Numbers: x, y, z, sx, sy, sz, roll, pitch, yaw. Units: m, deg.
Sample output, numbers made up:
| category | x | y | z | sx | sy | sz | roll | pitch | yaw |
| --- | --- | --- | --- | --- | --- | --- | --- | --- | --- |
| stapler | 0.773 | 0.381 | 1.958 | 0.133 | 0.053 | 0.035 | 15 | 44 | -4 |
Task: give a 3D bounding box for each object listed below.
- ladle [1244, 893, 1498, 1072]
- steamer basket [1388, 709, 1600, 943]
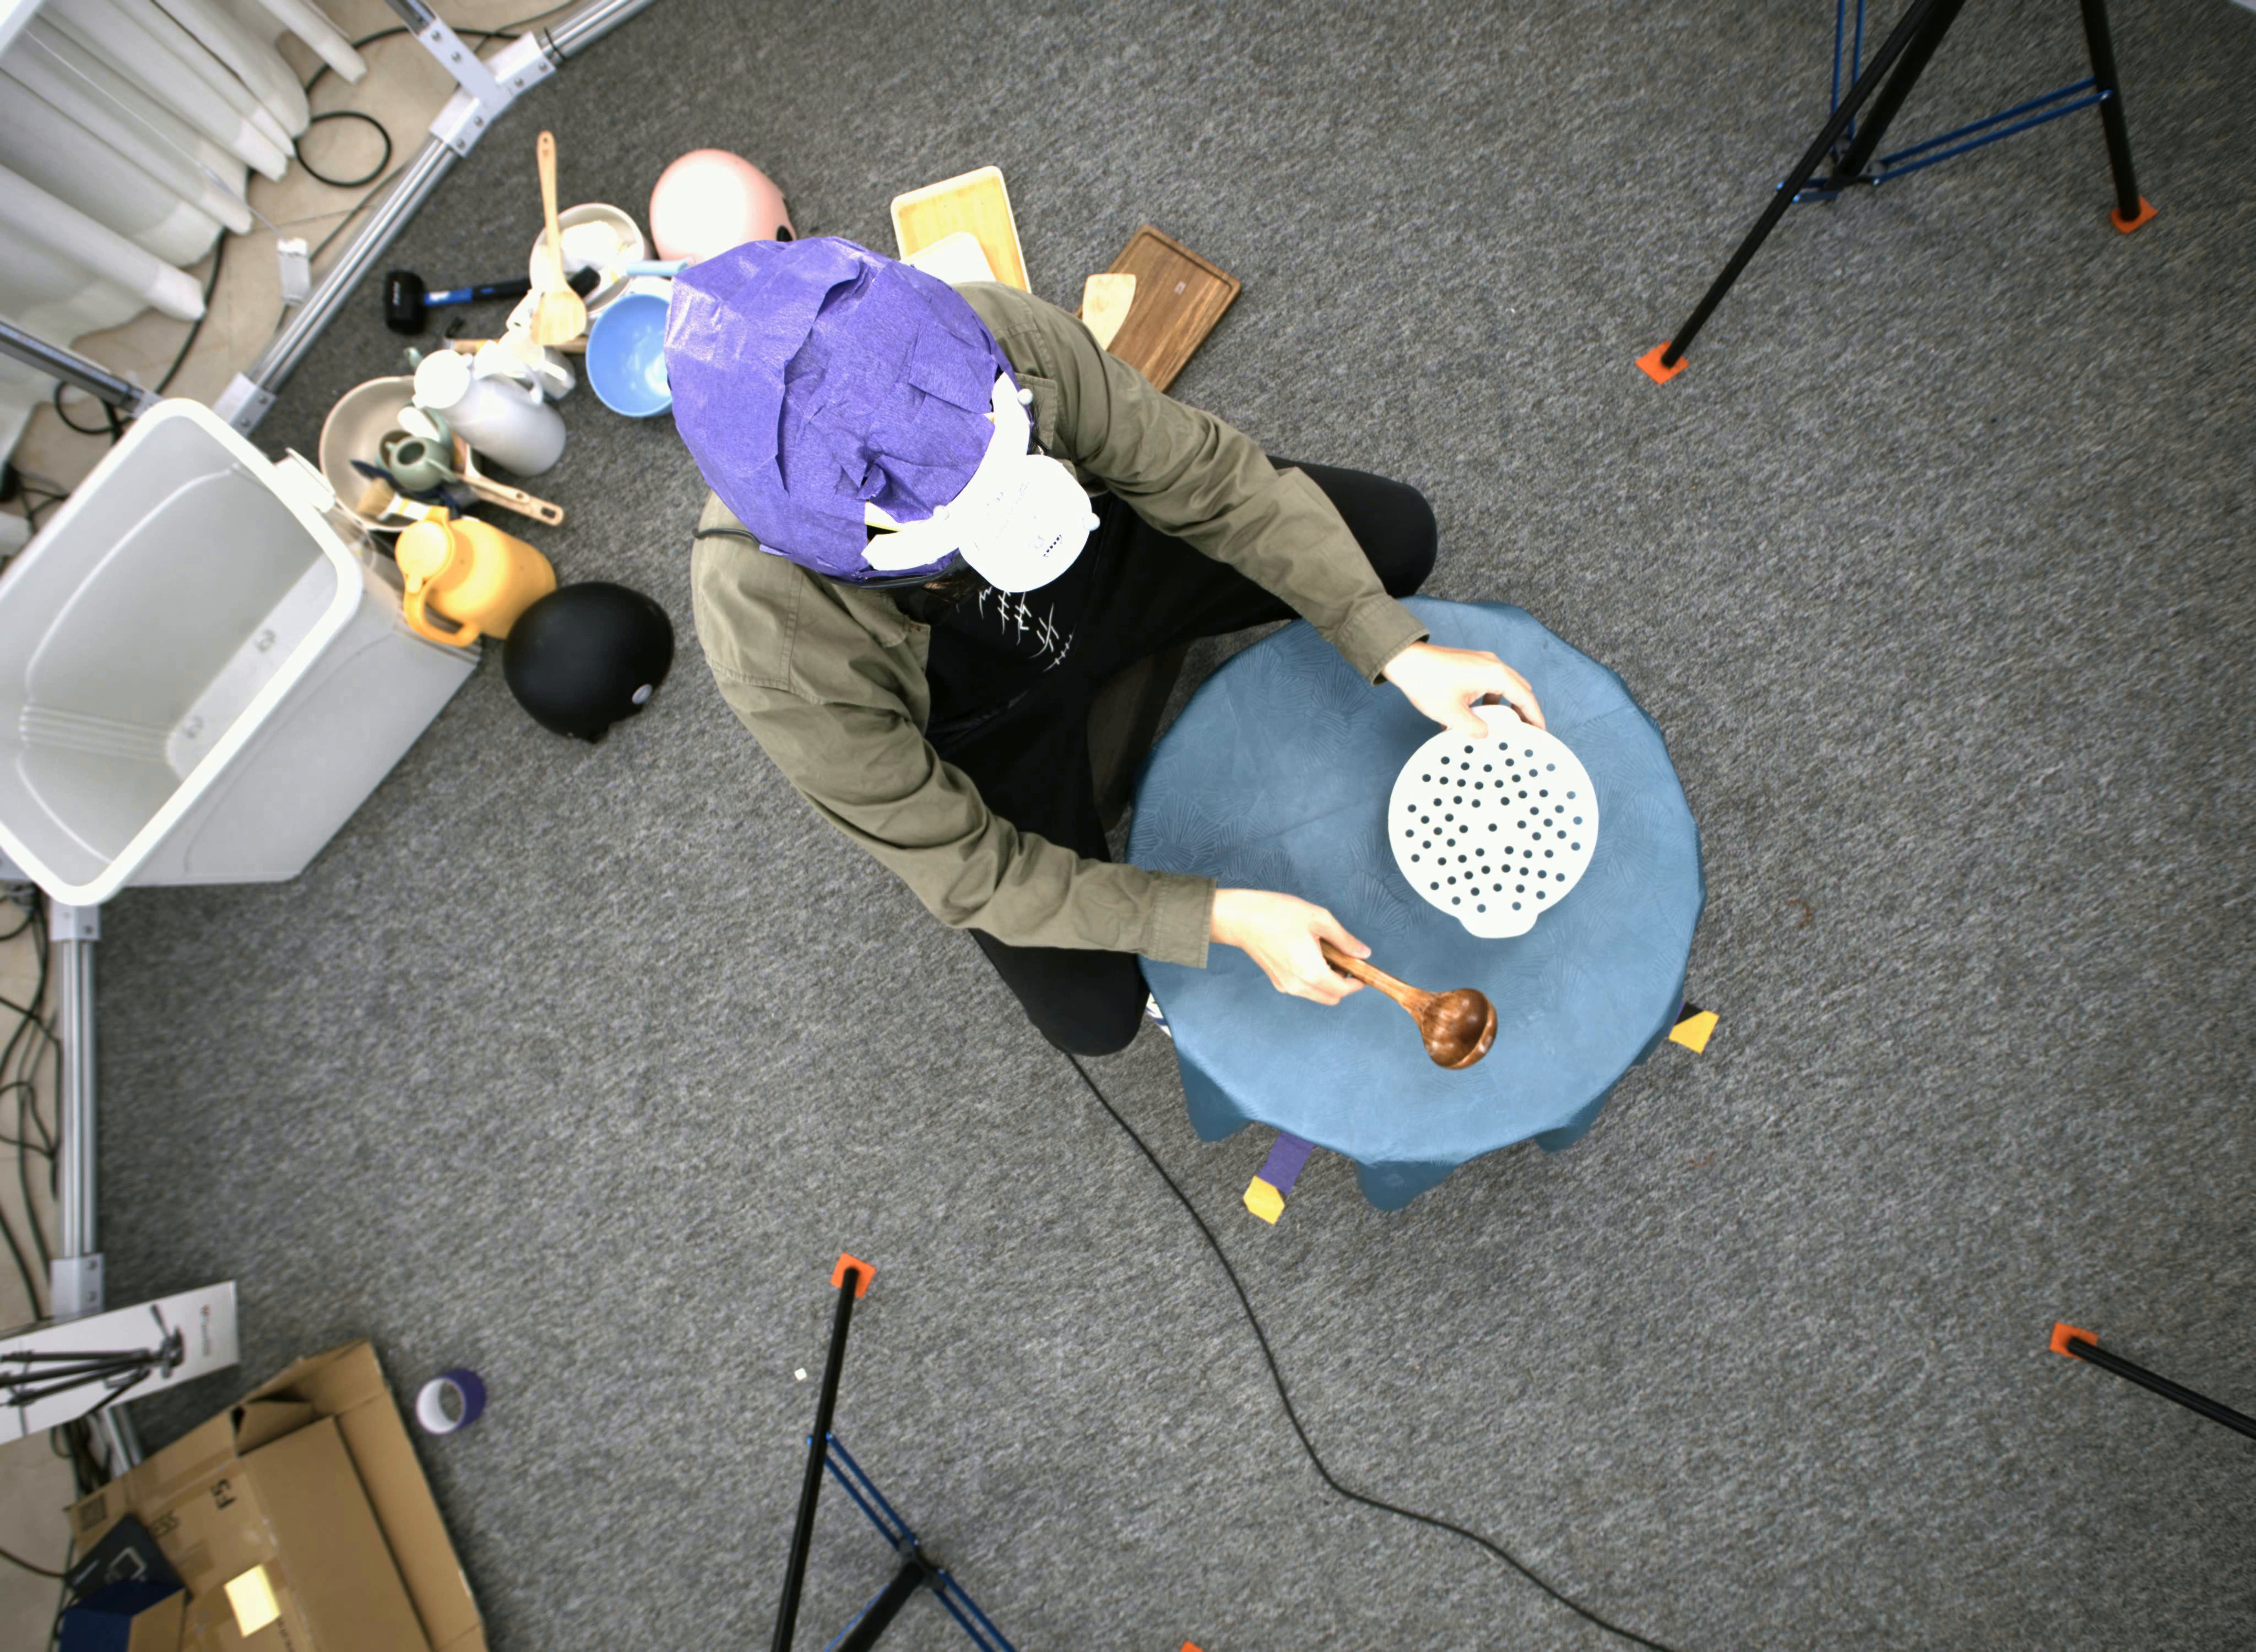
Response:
| category | x | y | z | sx | sy | sz | roll | pitch | yaw |
| --- | --- | --- | --- | --- | --- | --- | --- | --- | --- |
| ladle | 0.227 | 0.142 | 1.332 | 0.273 | 0.077 | 0.082 | 31 | 89 | 12 |
| steamer basket | 0.361 | 0.000 | 1.362 | 0.203 | 0.069 | 0.229 | -4 | 85 | 15 |
